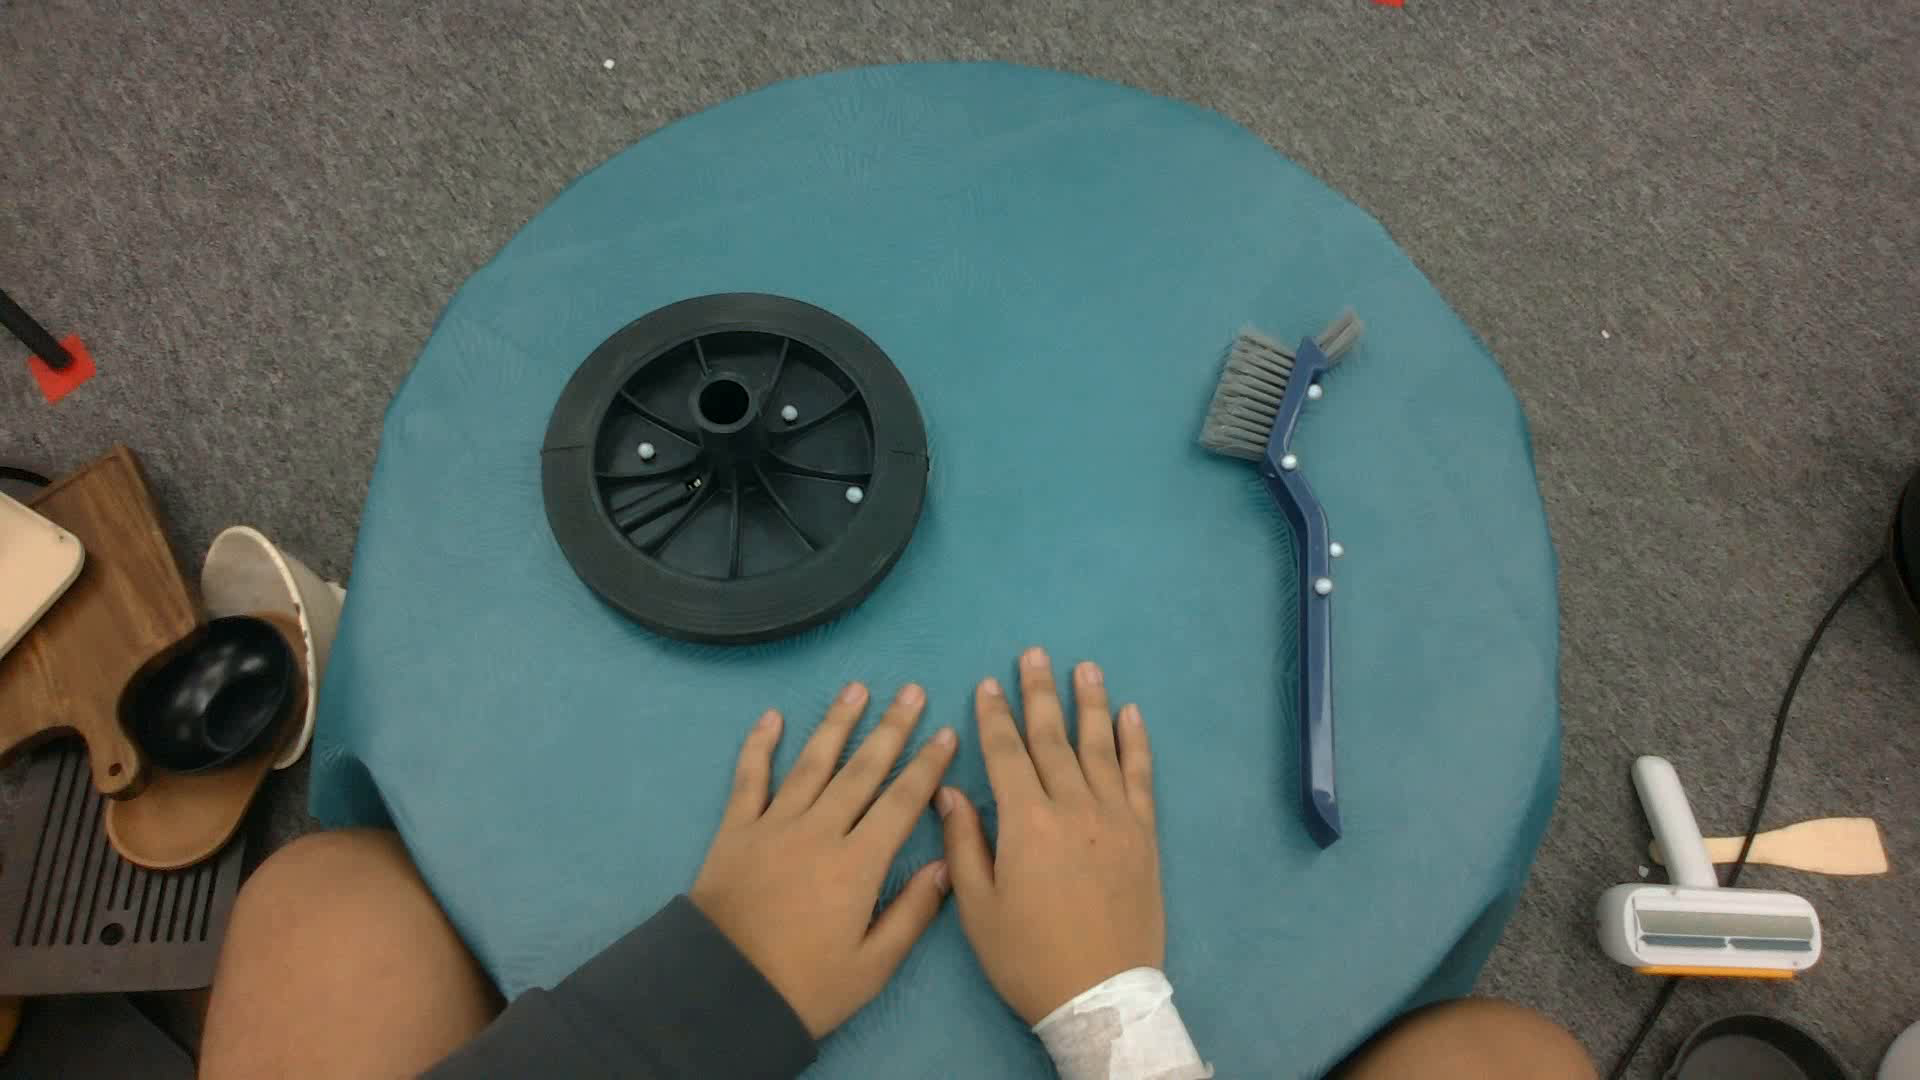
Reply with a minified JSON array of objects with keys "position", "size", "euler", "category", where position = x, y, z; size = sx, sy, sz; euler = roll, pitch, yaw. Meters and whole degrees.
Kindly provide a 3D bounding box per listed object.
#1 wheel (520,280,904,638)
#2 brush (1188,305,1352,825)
[{"position":[-0.120,-0.052,0.662],"size":[0.187,0.079,0.190],"euler":[33,69,9],"category":"wheel"},{"position":[0.171,0.002,0.683],"size":[0.096,0.033,0.274],"euler":[-2,66,-5],"category":"brush"}]
